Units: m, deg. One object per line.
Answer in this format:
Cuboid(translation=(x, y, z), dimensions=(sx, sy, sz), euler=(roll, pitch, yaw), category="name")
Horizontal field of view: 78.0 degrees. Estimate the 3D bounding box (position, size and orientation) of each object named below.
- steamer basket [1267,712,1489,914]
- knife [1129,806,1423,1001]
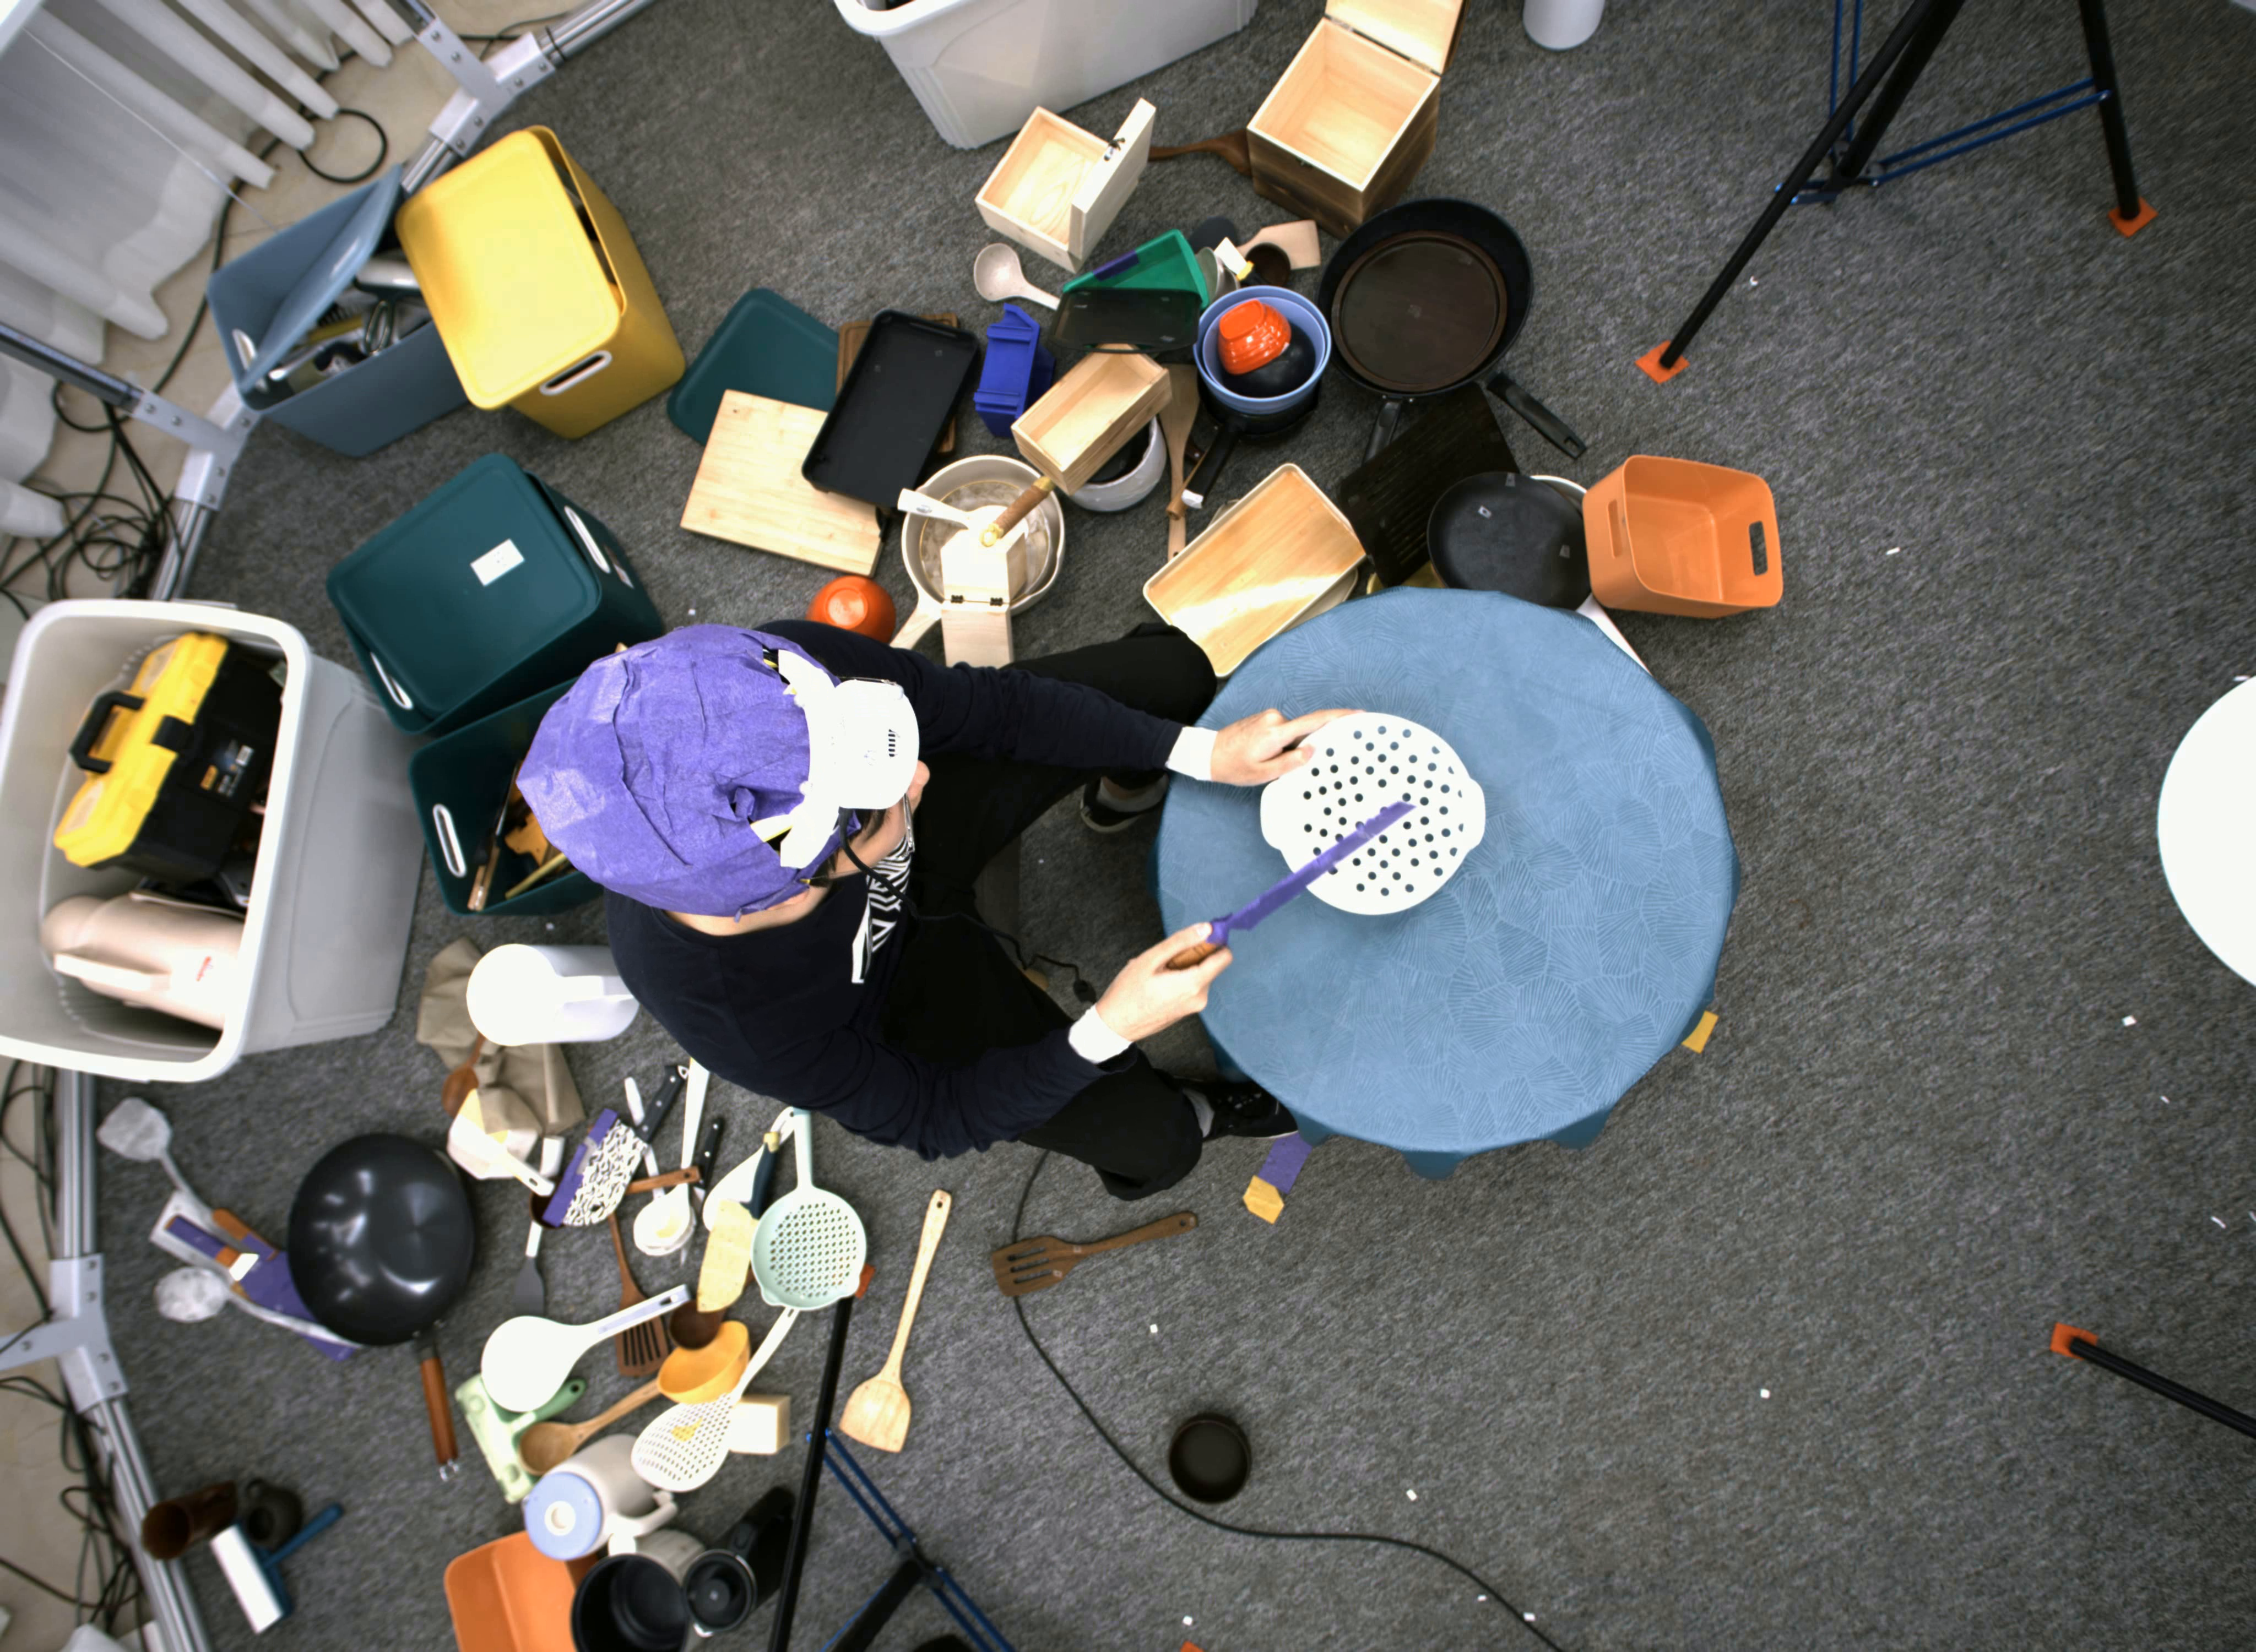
Cuboid(translation=(0.258, -0.015, 1.399), dimensions=(0.232, 0.068, 0.202), euler=(1, 95, 29), category="steamer basket")
Cuboid(translation=(0.143, 0.074, 1.306), dimensions=(0.320, 0.103, 0.032), euler=(-35, 72, 20), category="knife")
